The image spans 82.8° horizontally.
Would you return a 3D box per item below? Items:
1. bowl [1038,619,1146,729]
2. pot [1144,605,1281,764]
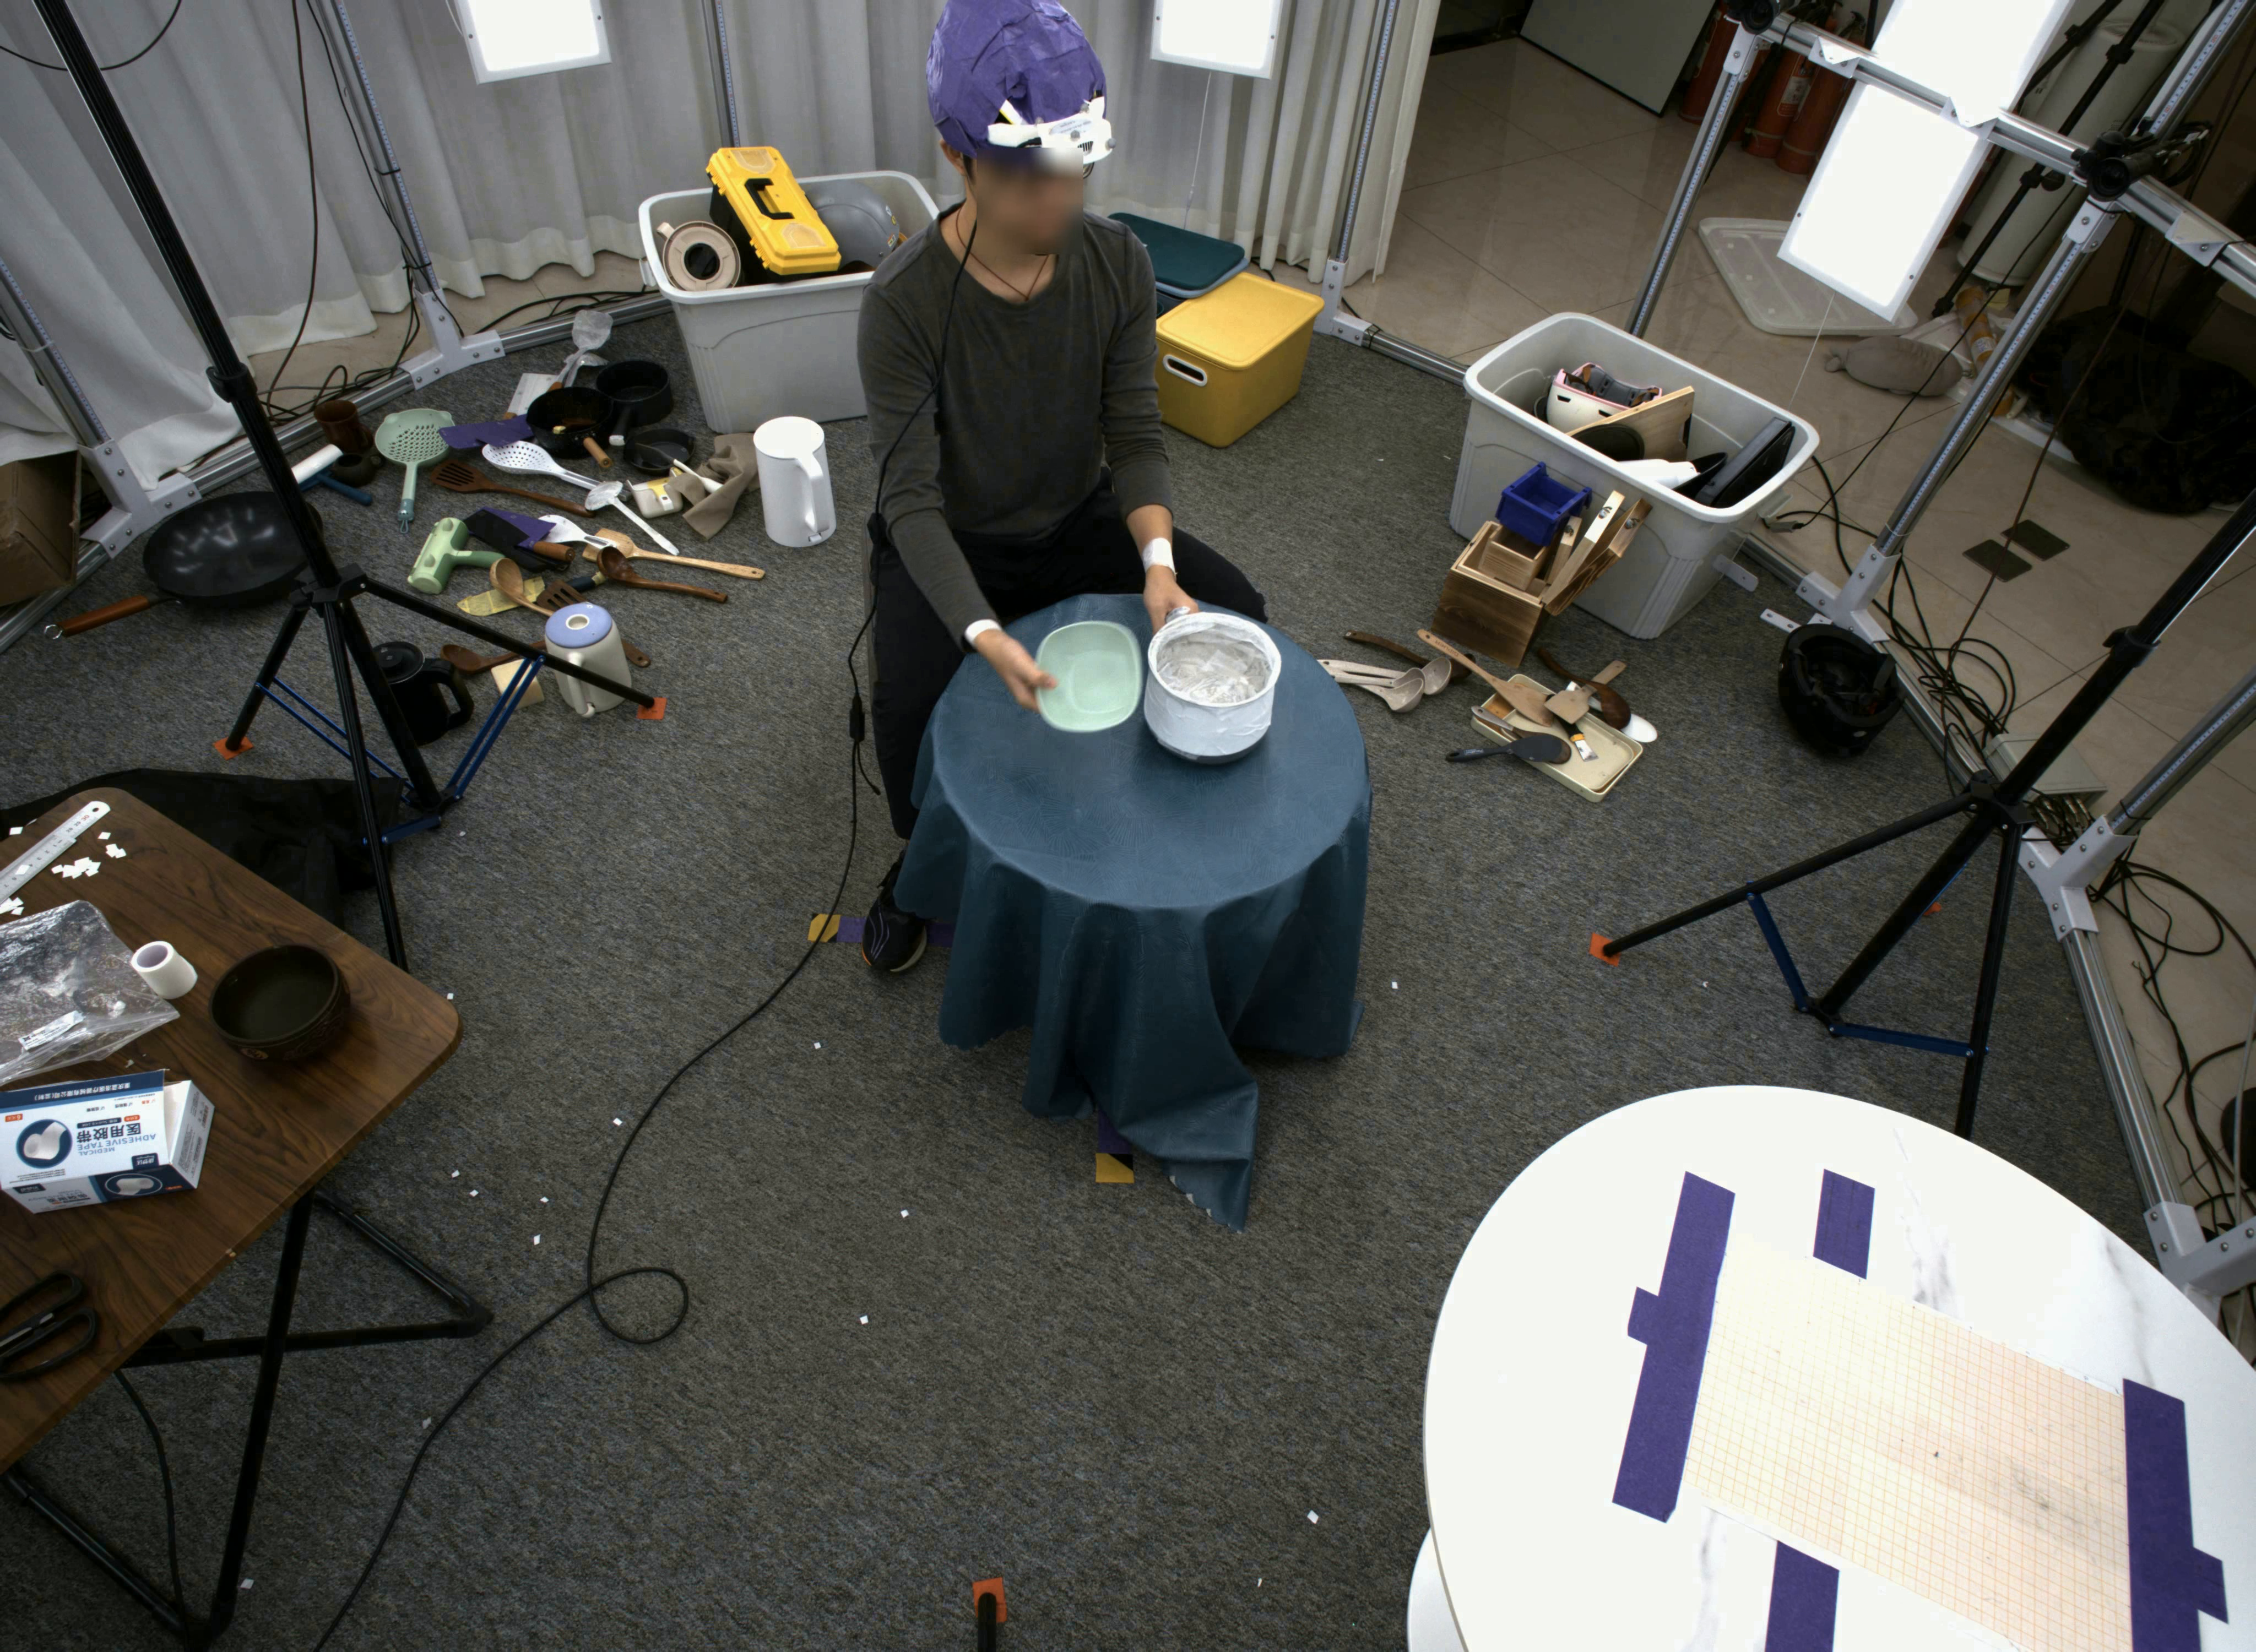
[{"bbox_3d":[-0.040,-0.188,1.629,0.151,0.058,0.152,-2,83,14],"label":"bowl"},{"bbox_3d":[0.100,-0.203,1.758,0.179,0.133,0.239,-17,54,-17],"label":"pot"}]
